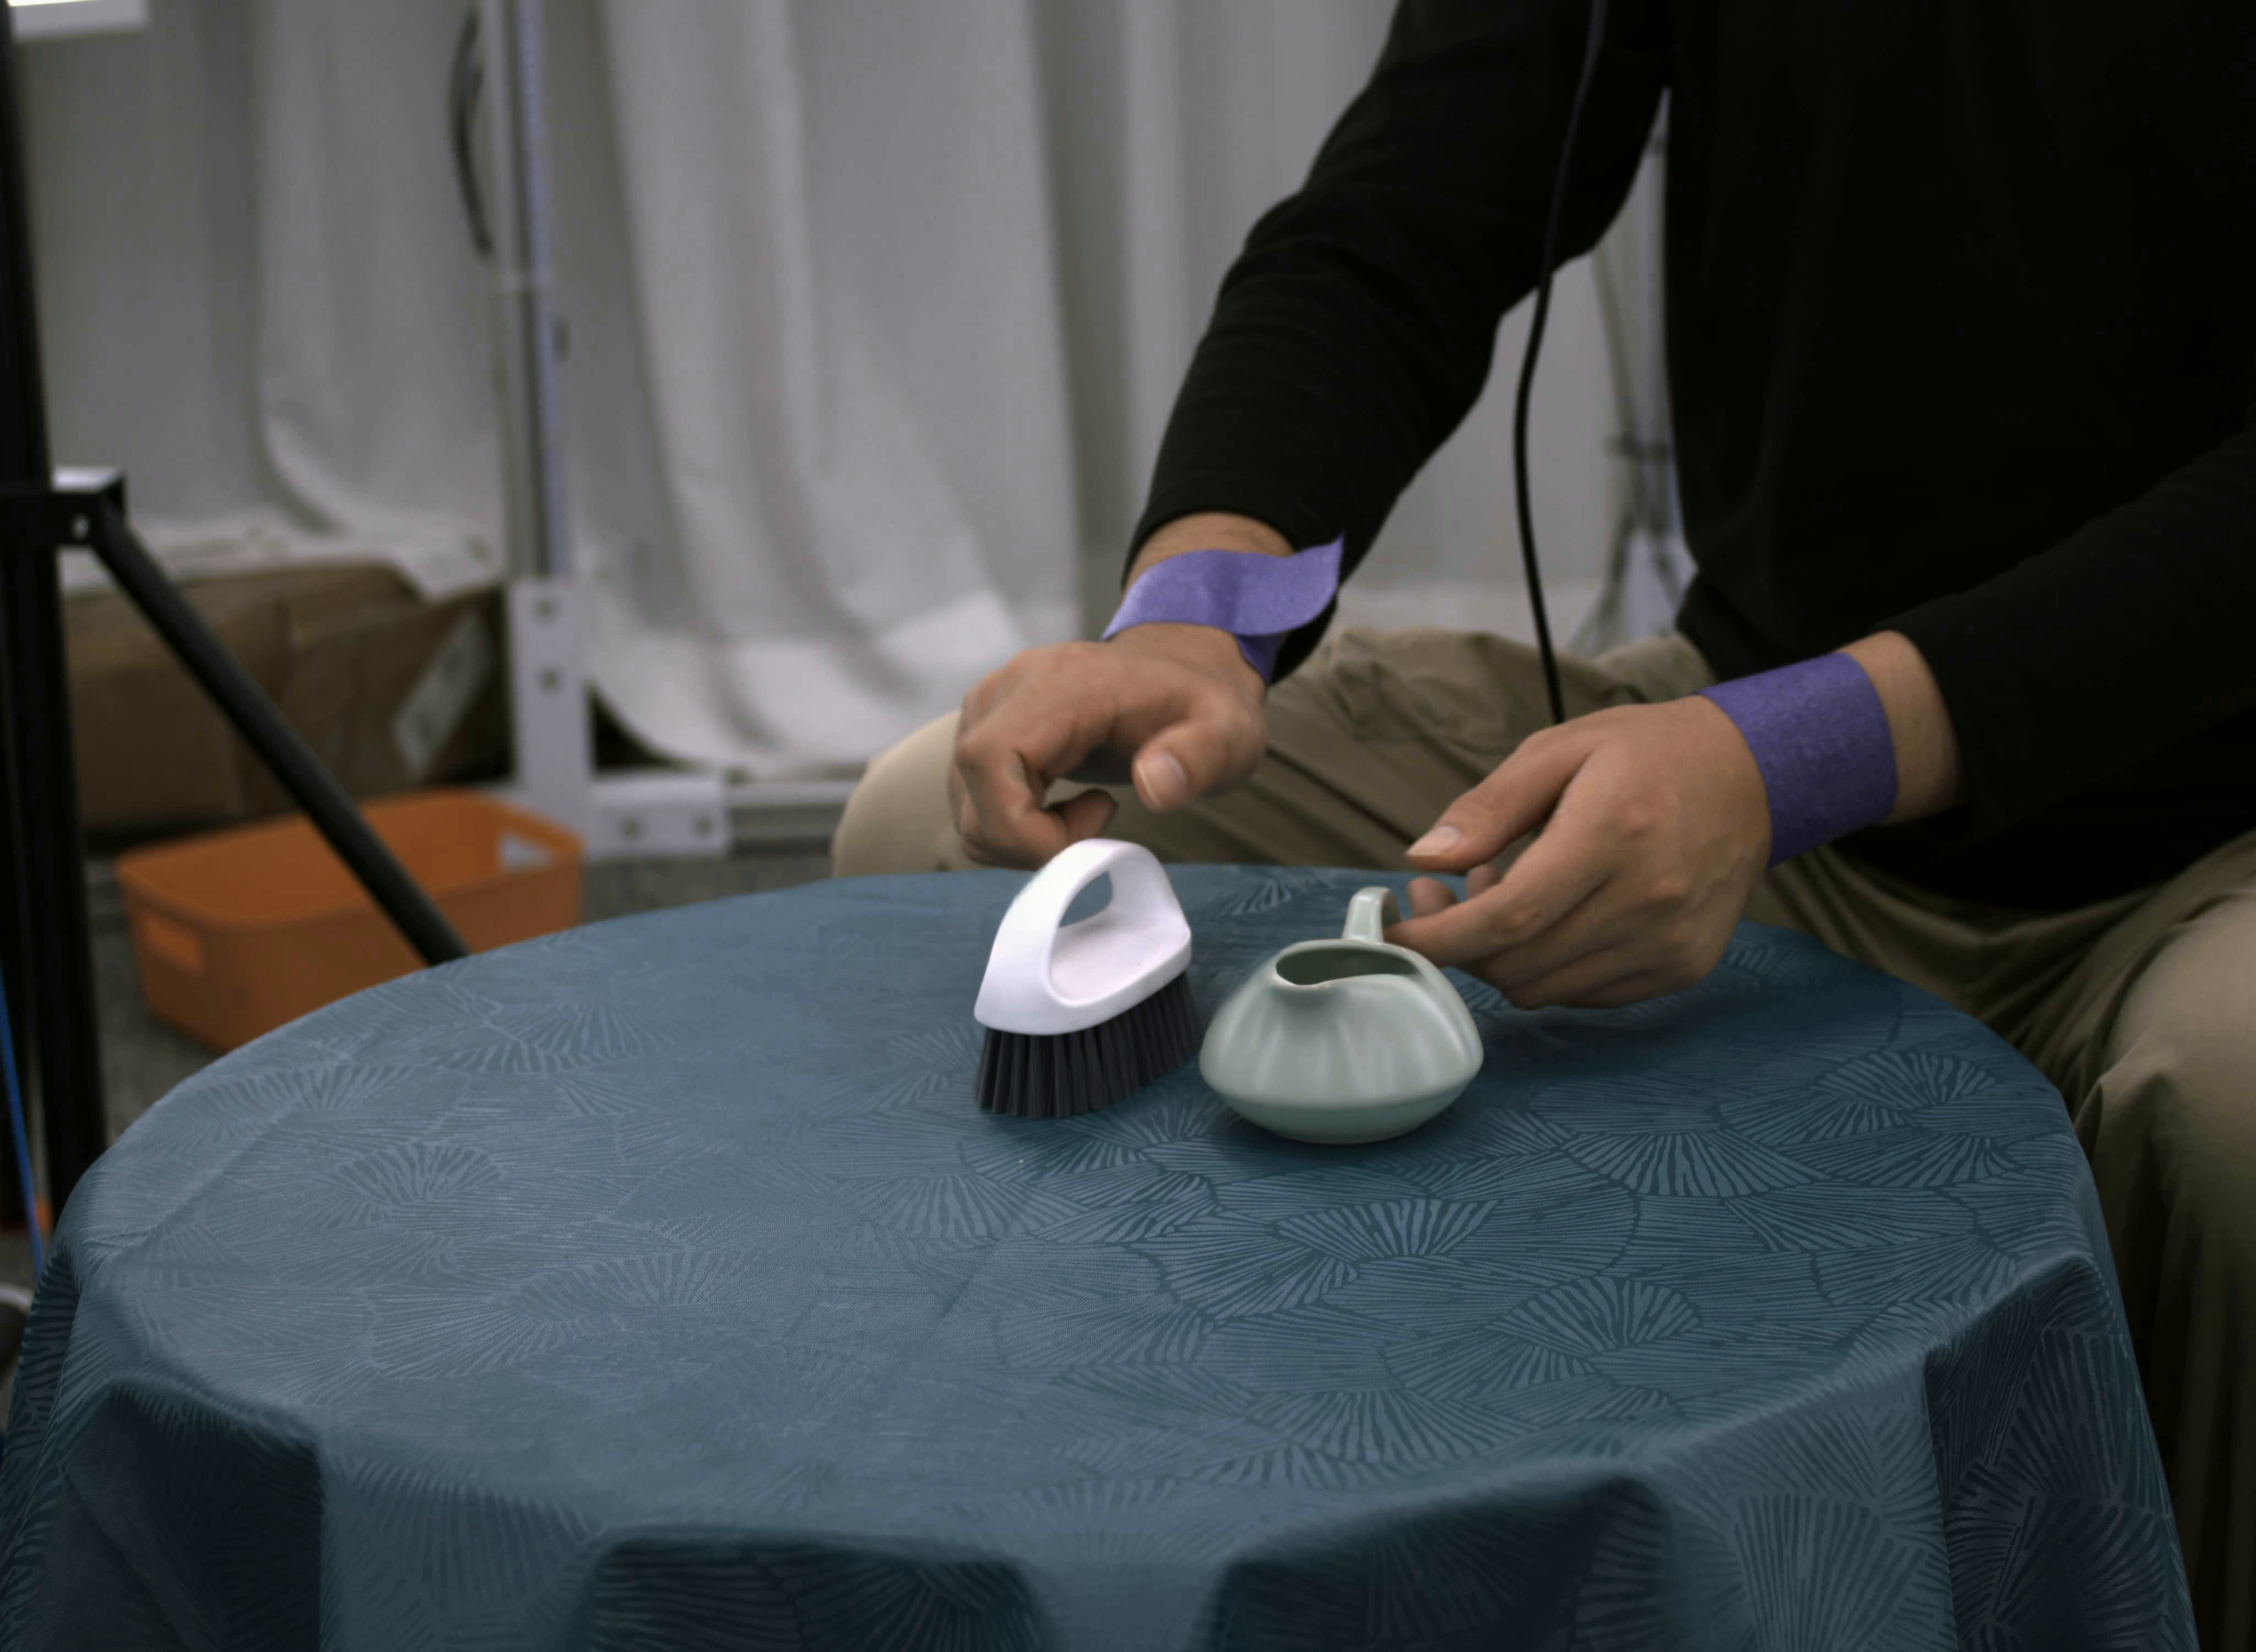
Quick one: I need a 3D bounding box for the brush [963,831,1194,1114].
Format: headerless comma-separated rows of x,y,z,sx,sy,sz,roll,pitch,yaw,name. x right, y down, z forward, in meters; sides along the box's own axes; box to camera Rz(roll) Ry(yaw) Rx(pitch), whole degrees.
-0.015,0.040,1.663,0.051,0.072,0.097,8,20,29,brush

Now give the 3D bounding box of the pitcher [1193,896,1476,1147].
0.065,0.060,1.617,0.086,0.060,0.107,2,14,14,pitcher
